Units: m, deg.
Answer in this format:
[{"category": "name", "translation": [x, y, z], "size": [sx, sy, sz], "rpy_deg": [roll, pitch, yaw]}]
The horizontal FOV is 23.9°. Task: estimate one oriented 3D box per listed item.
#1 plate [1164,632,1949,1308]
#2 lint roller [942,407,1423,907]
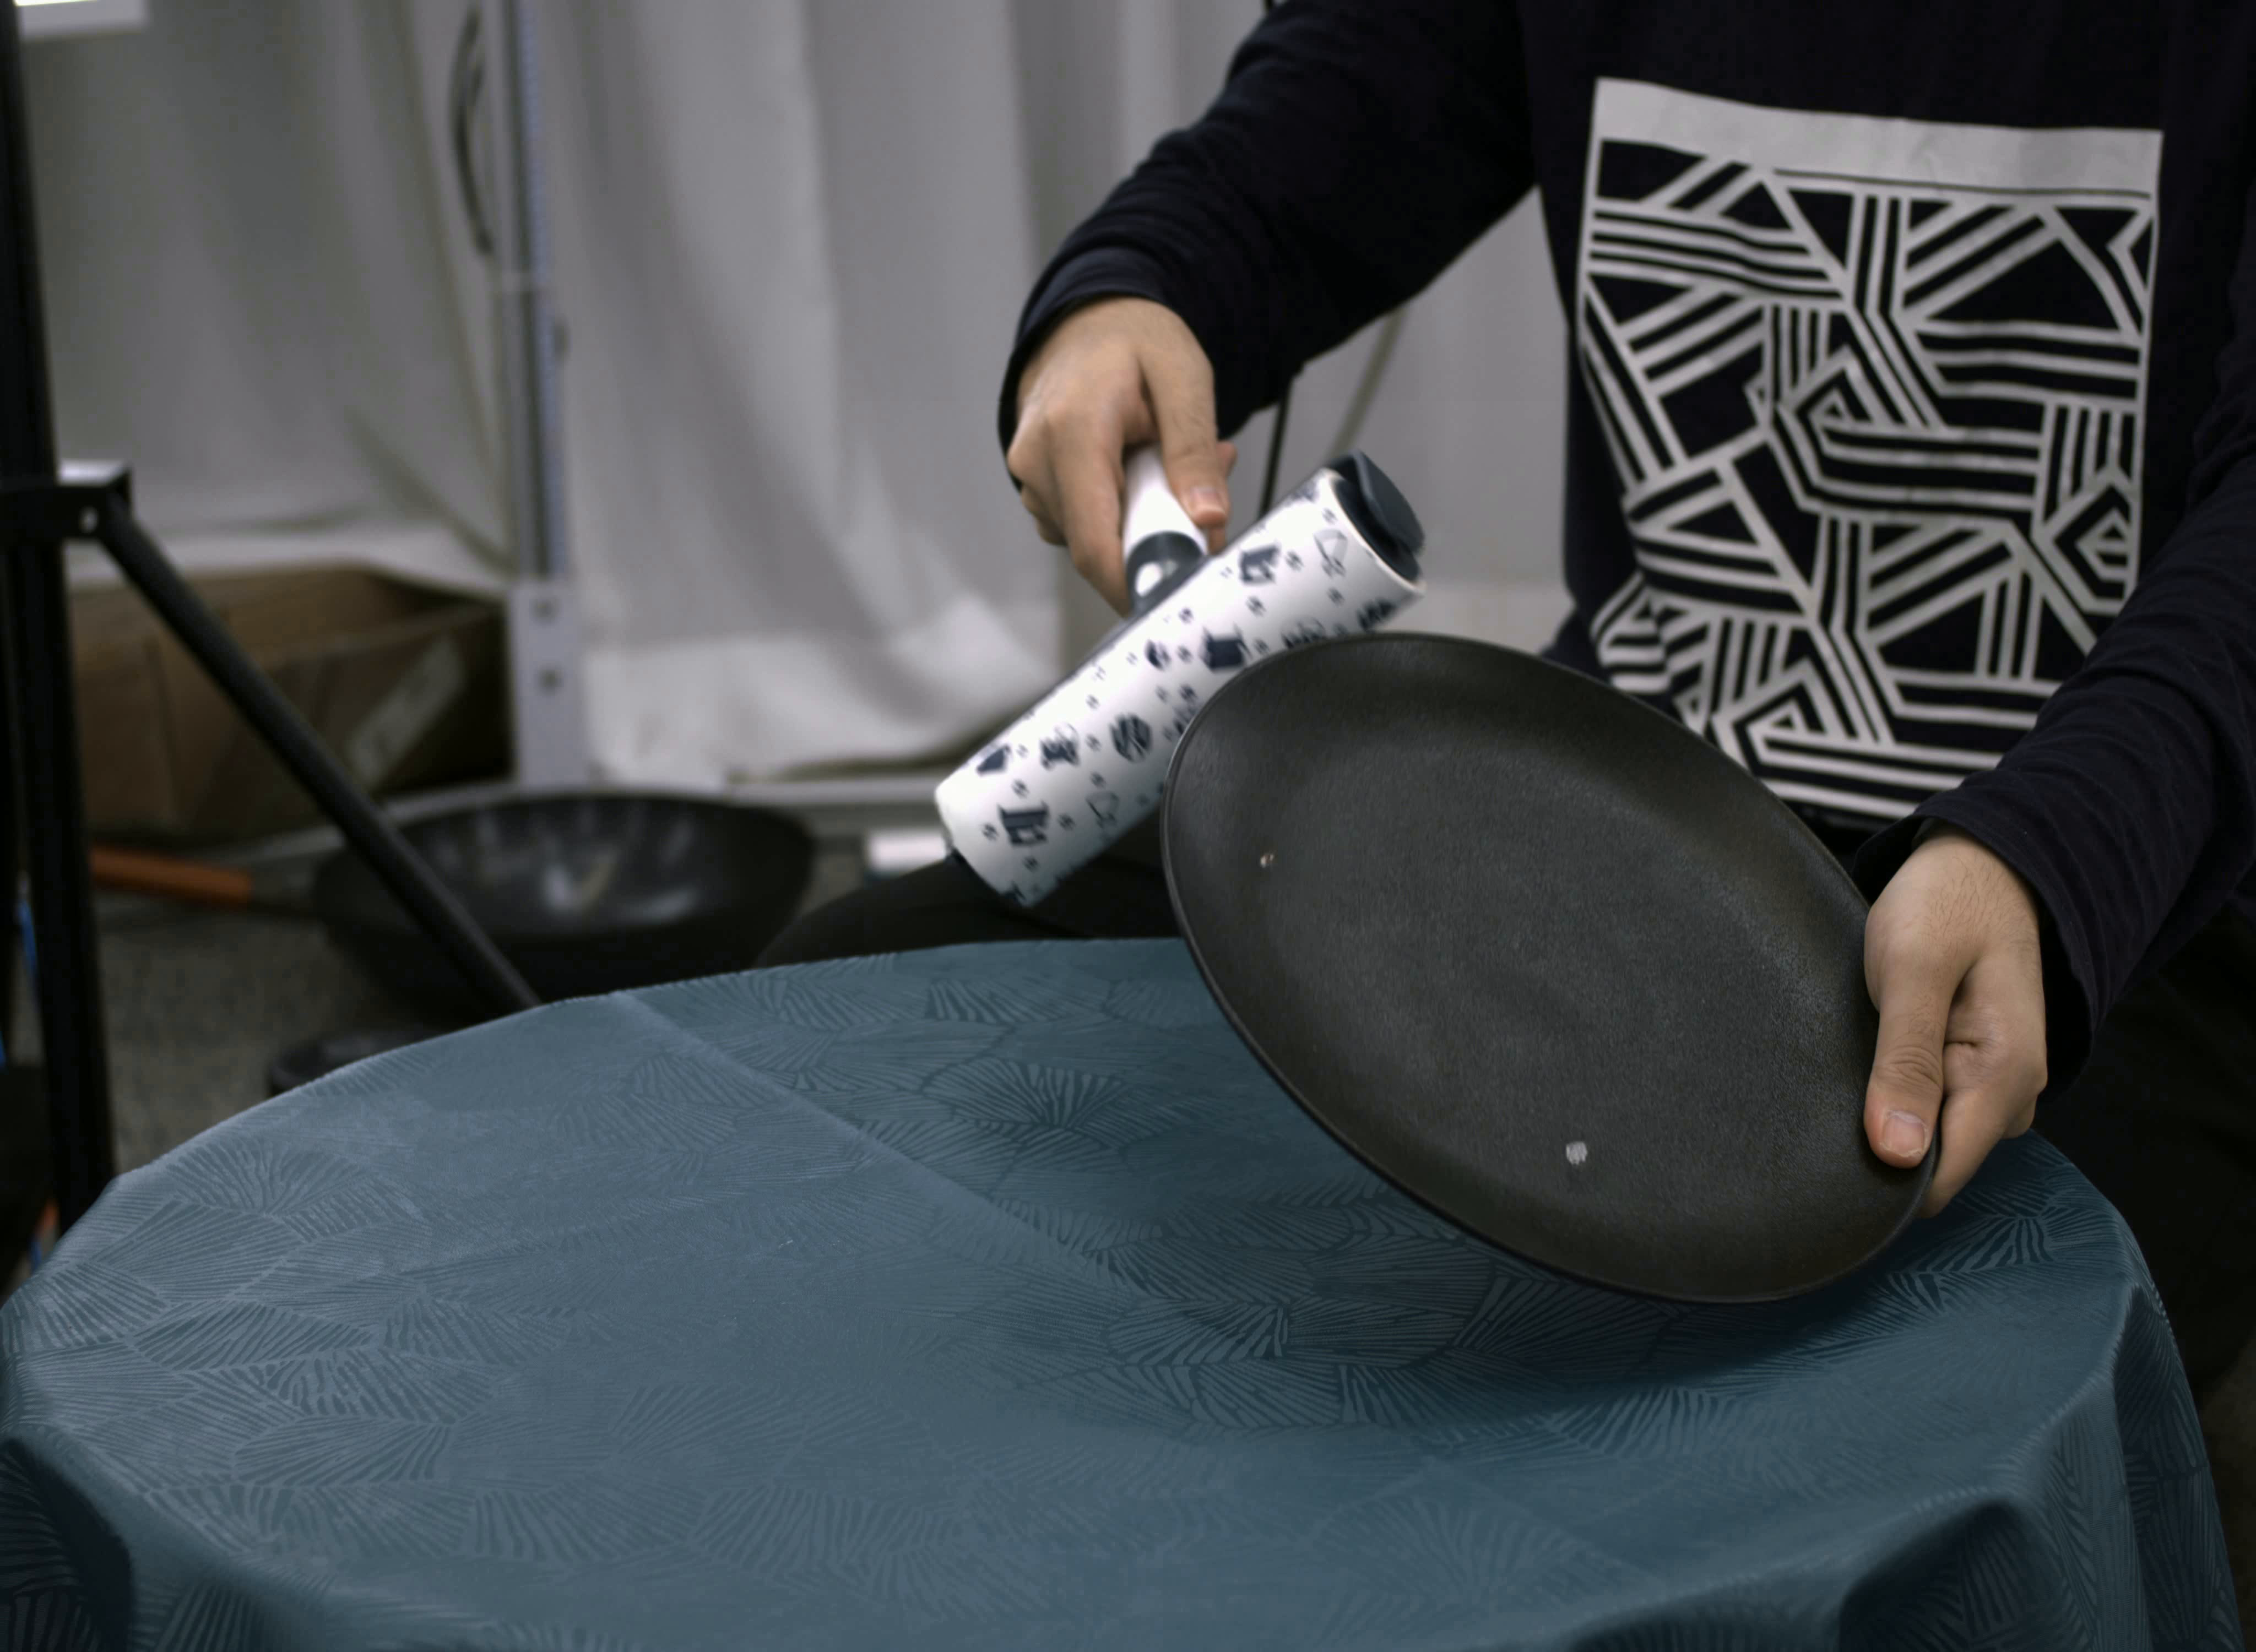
[{"category": "plate", "translation": [0.118, 0.042, 1.479], "size": [0.240, 0.023, 0.247], "rpy_deg": [15, 42, -16]}, {"category": "lint roller", "translation": [0.012, -0.085, 1.719], "size": [0.177, 0.049, 0.249], "rpy_deg": [-40, 22, 16]}]
